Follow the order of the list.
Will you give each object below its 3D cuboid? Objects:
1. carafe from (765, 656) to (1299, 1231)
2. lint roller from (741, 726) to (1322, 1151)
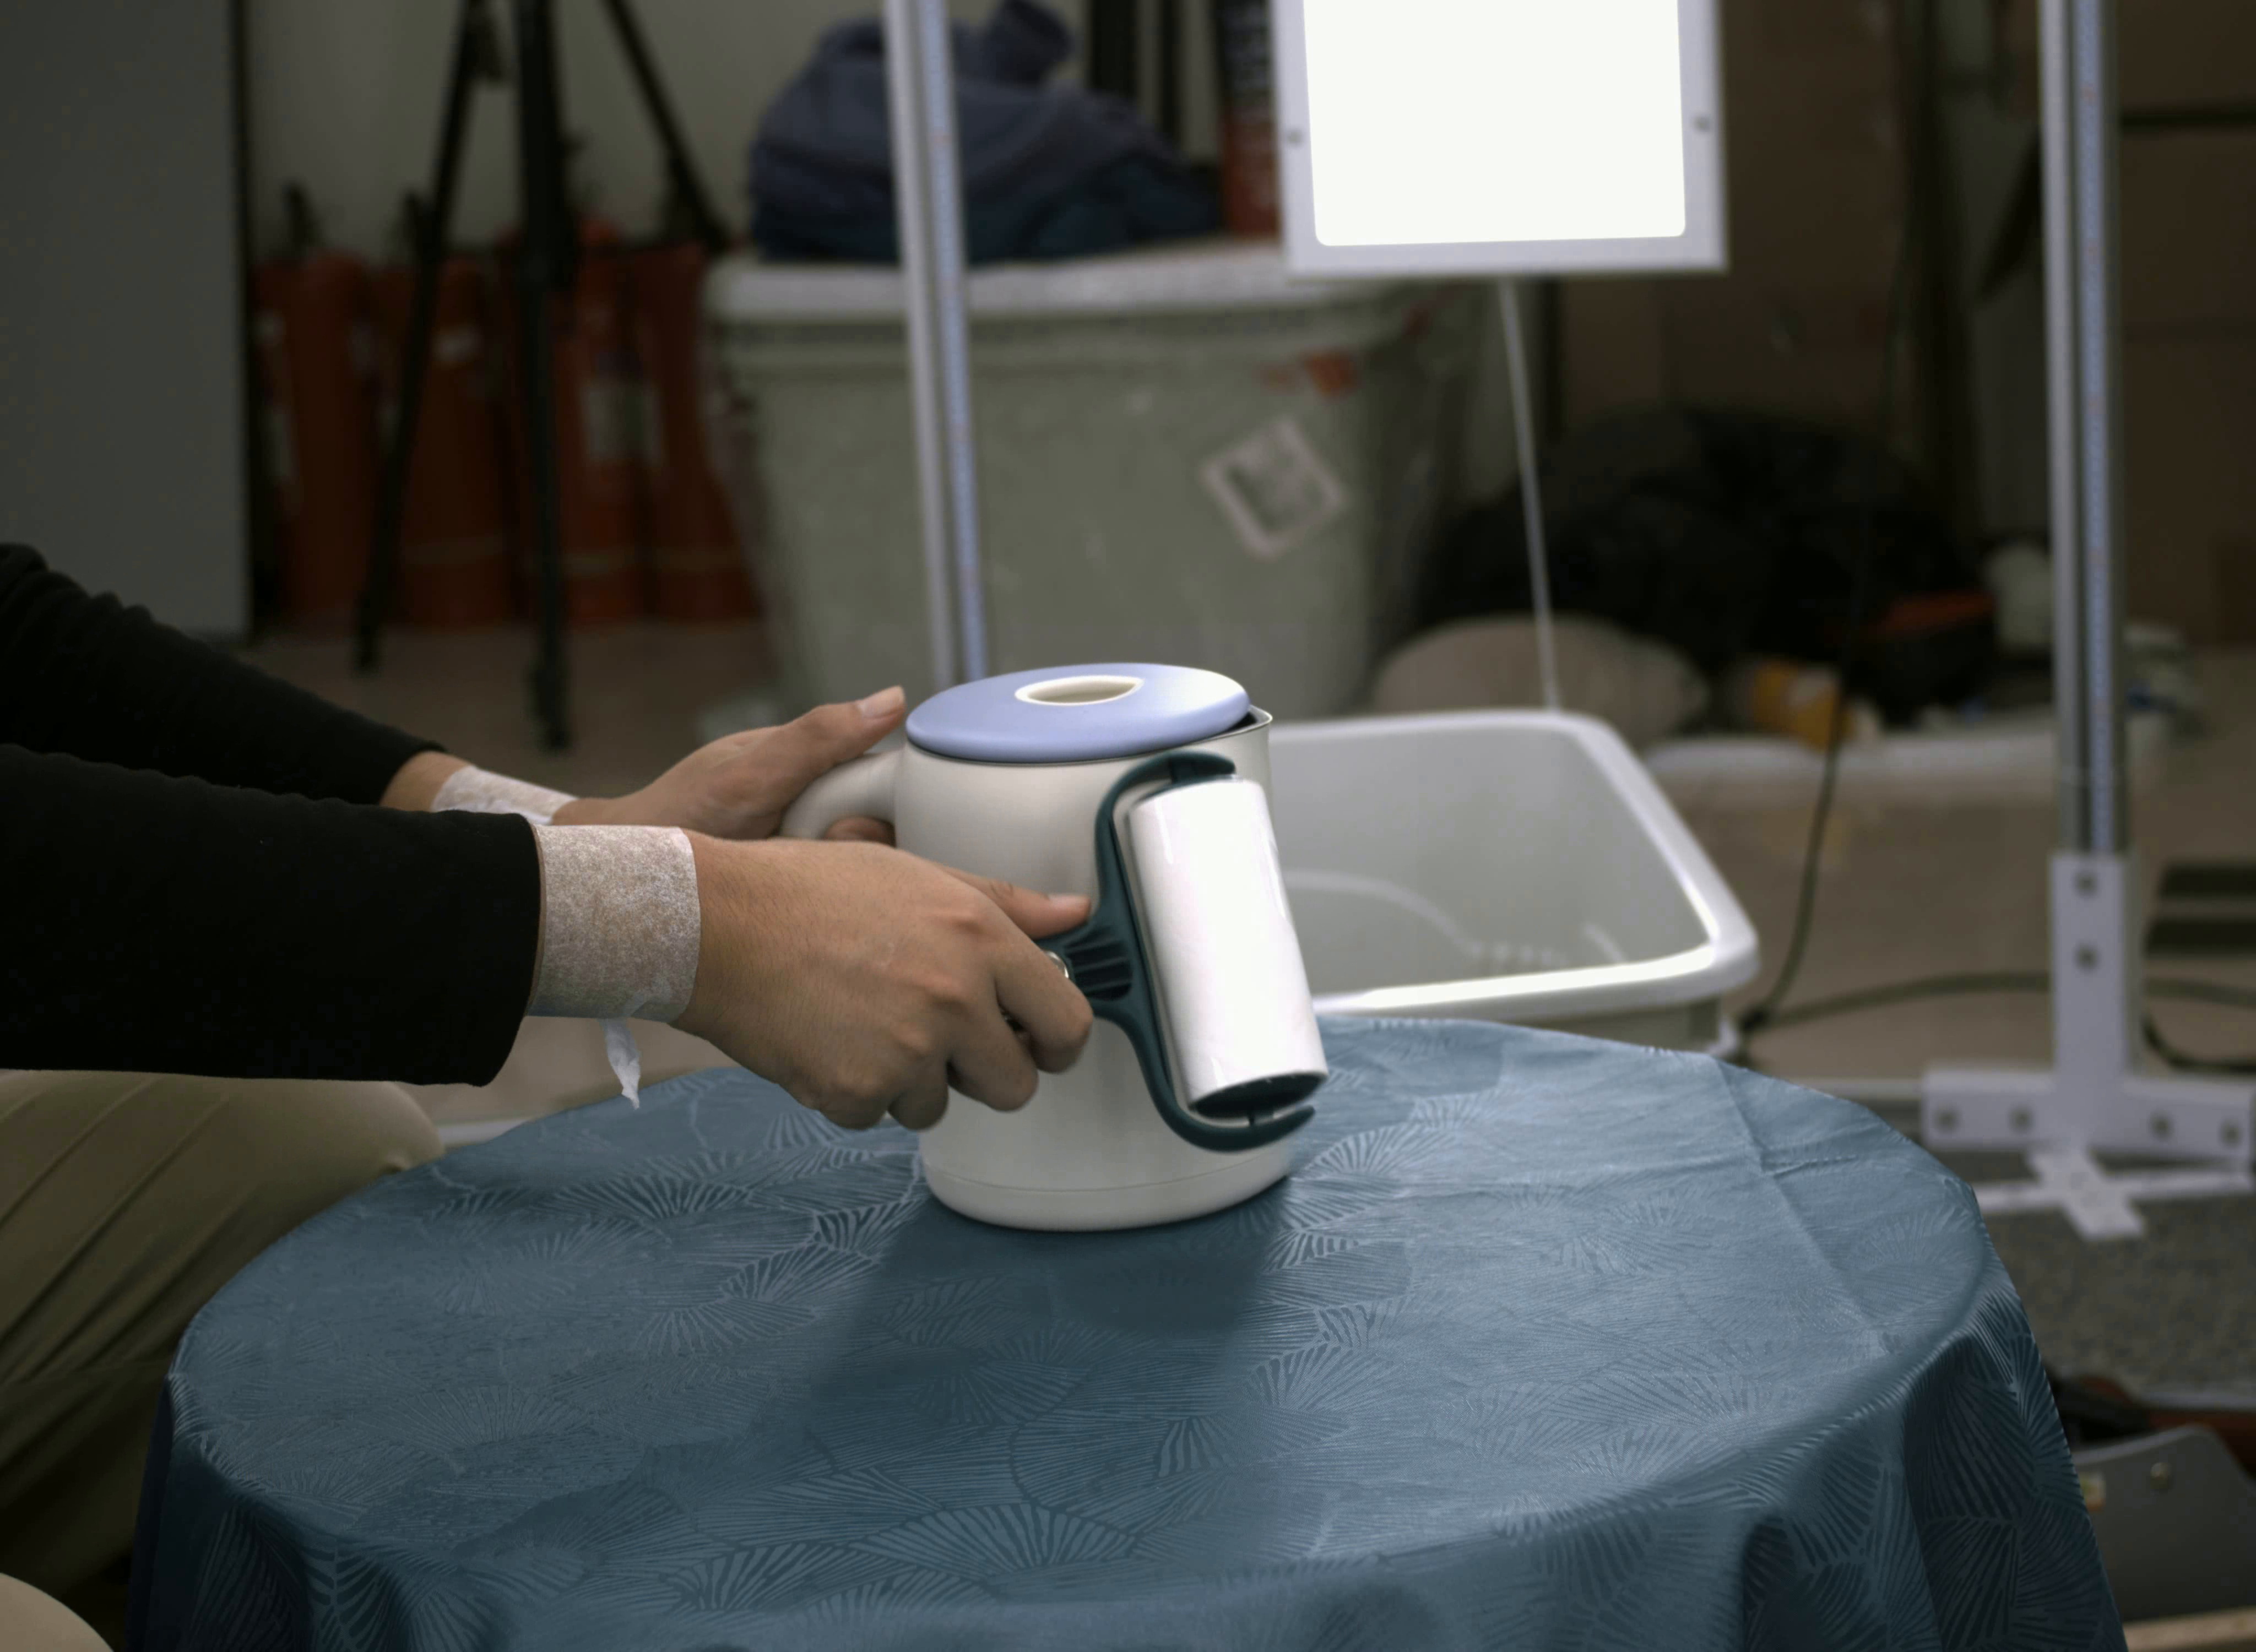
[{"bbox_3d":[-0.035,0.040,1.902,0.193,0.183,0.130,-2,13,18],"label":"carafe"},{"bbox_3d":[-0.034,0.048,1.763,0.177,0.135,0.049,-10,-13,-14],"label":"lint roller"}]
